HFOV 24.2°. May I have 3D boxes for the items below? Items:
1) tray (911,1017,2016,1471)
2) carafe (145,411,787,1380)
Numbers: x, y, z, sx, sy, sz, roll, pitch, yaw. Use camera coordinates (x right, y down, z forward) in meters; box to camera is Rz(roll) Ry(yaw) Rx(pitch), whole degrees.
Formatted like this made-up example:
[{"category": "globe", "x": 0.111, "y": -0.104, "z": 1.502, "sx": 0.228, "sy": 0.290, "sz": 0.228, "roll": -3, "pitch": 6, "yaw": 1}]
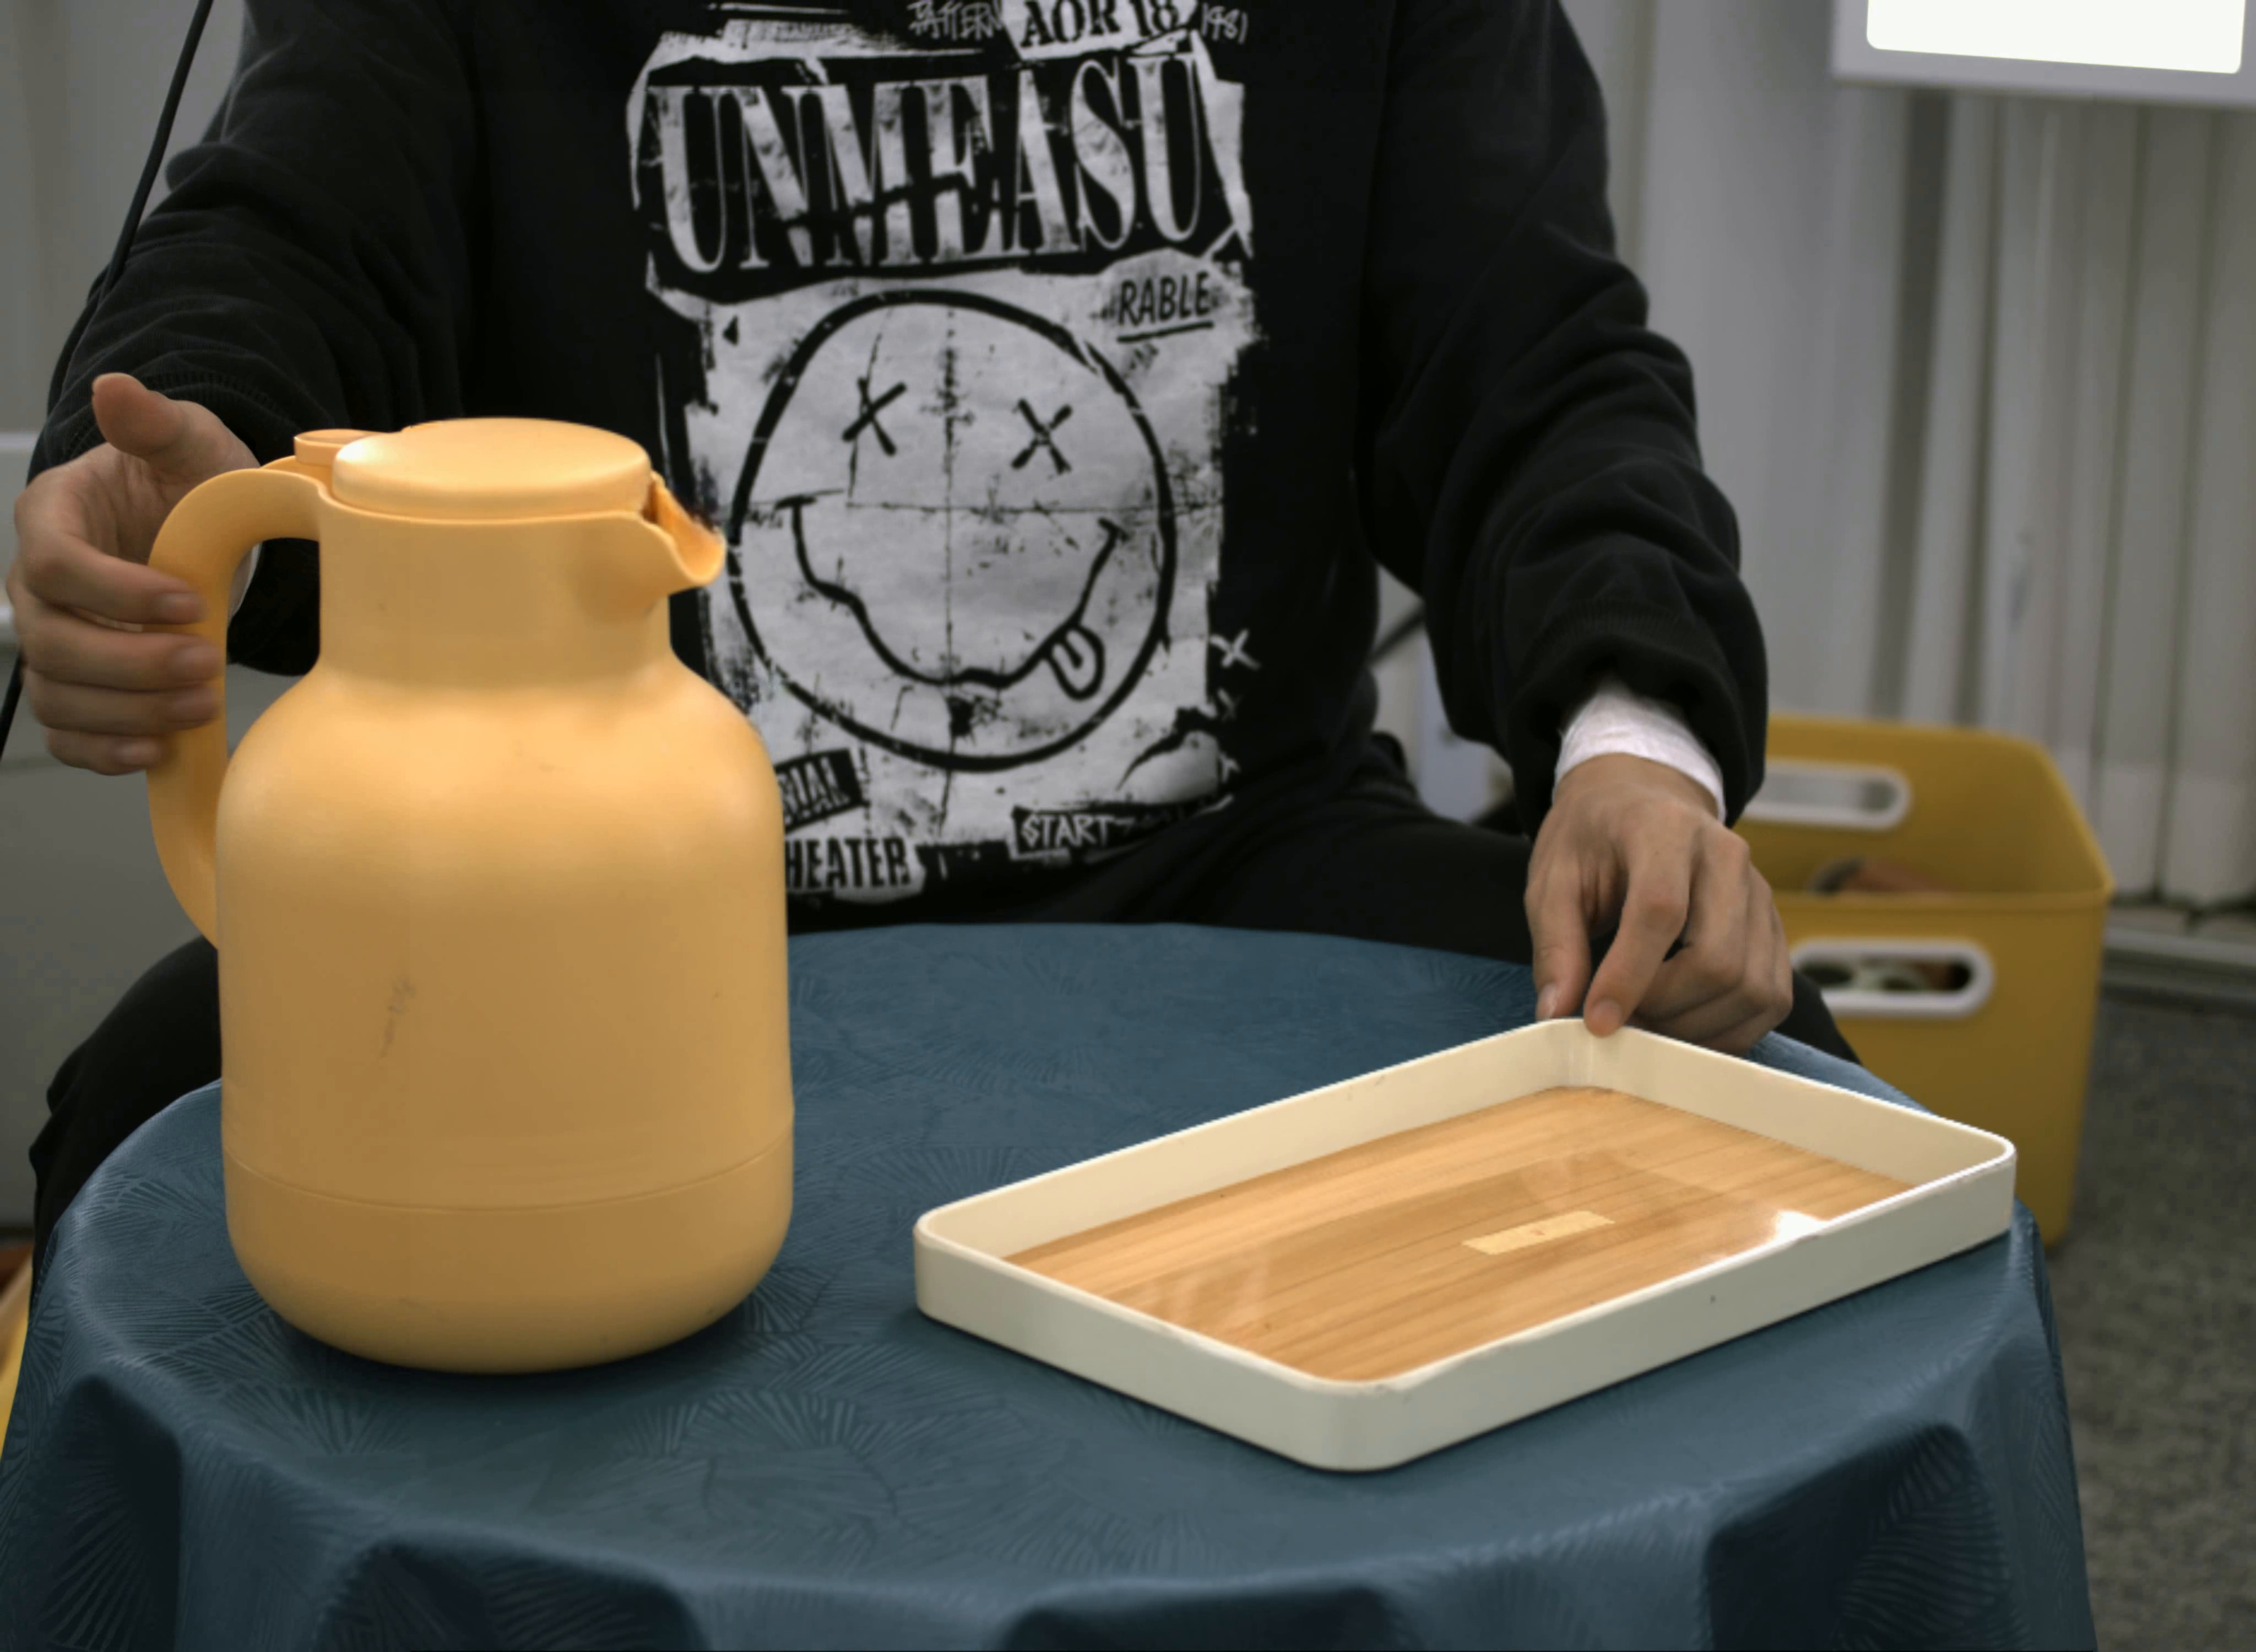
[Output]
[{"category": "tray", "x": 0.102, "y": 0.118, "z": 1.556, "sx": 0.302, "sy": 0.027, "sz": 0.189, "roll": -14, "pitch": 21, "yaw": -42}, {"category": "carafe", "x": -0.193, "y": 0.012, "z": 1.494, "sx": 0.200, "sy": 0.262, "sz": 0.164, "roll": 11, "pitch": 17, "yaw": 31}]
